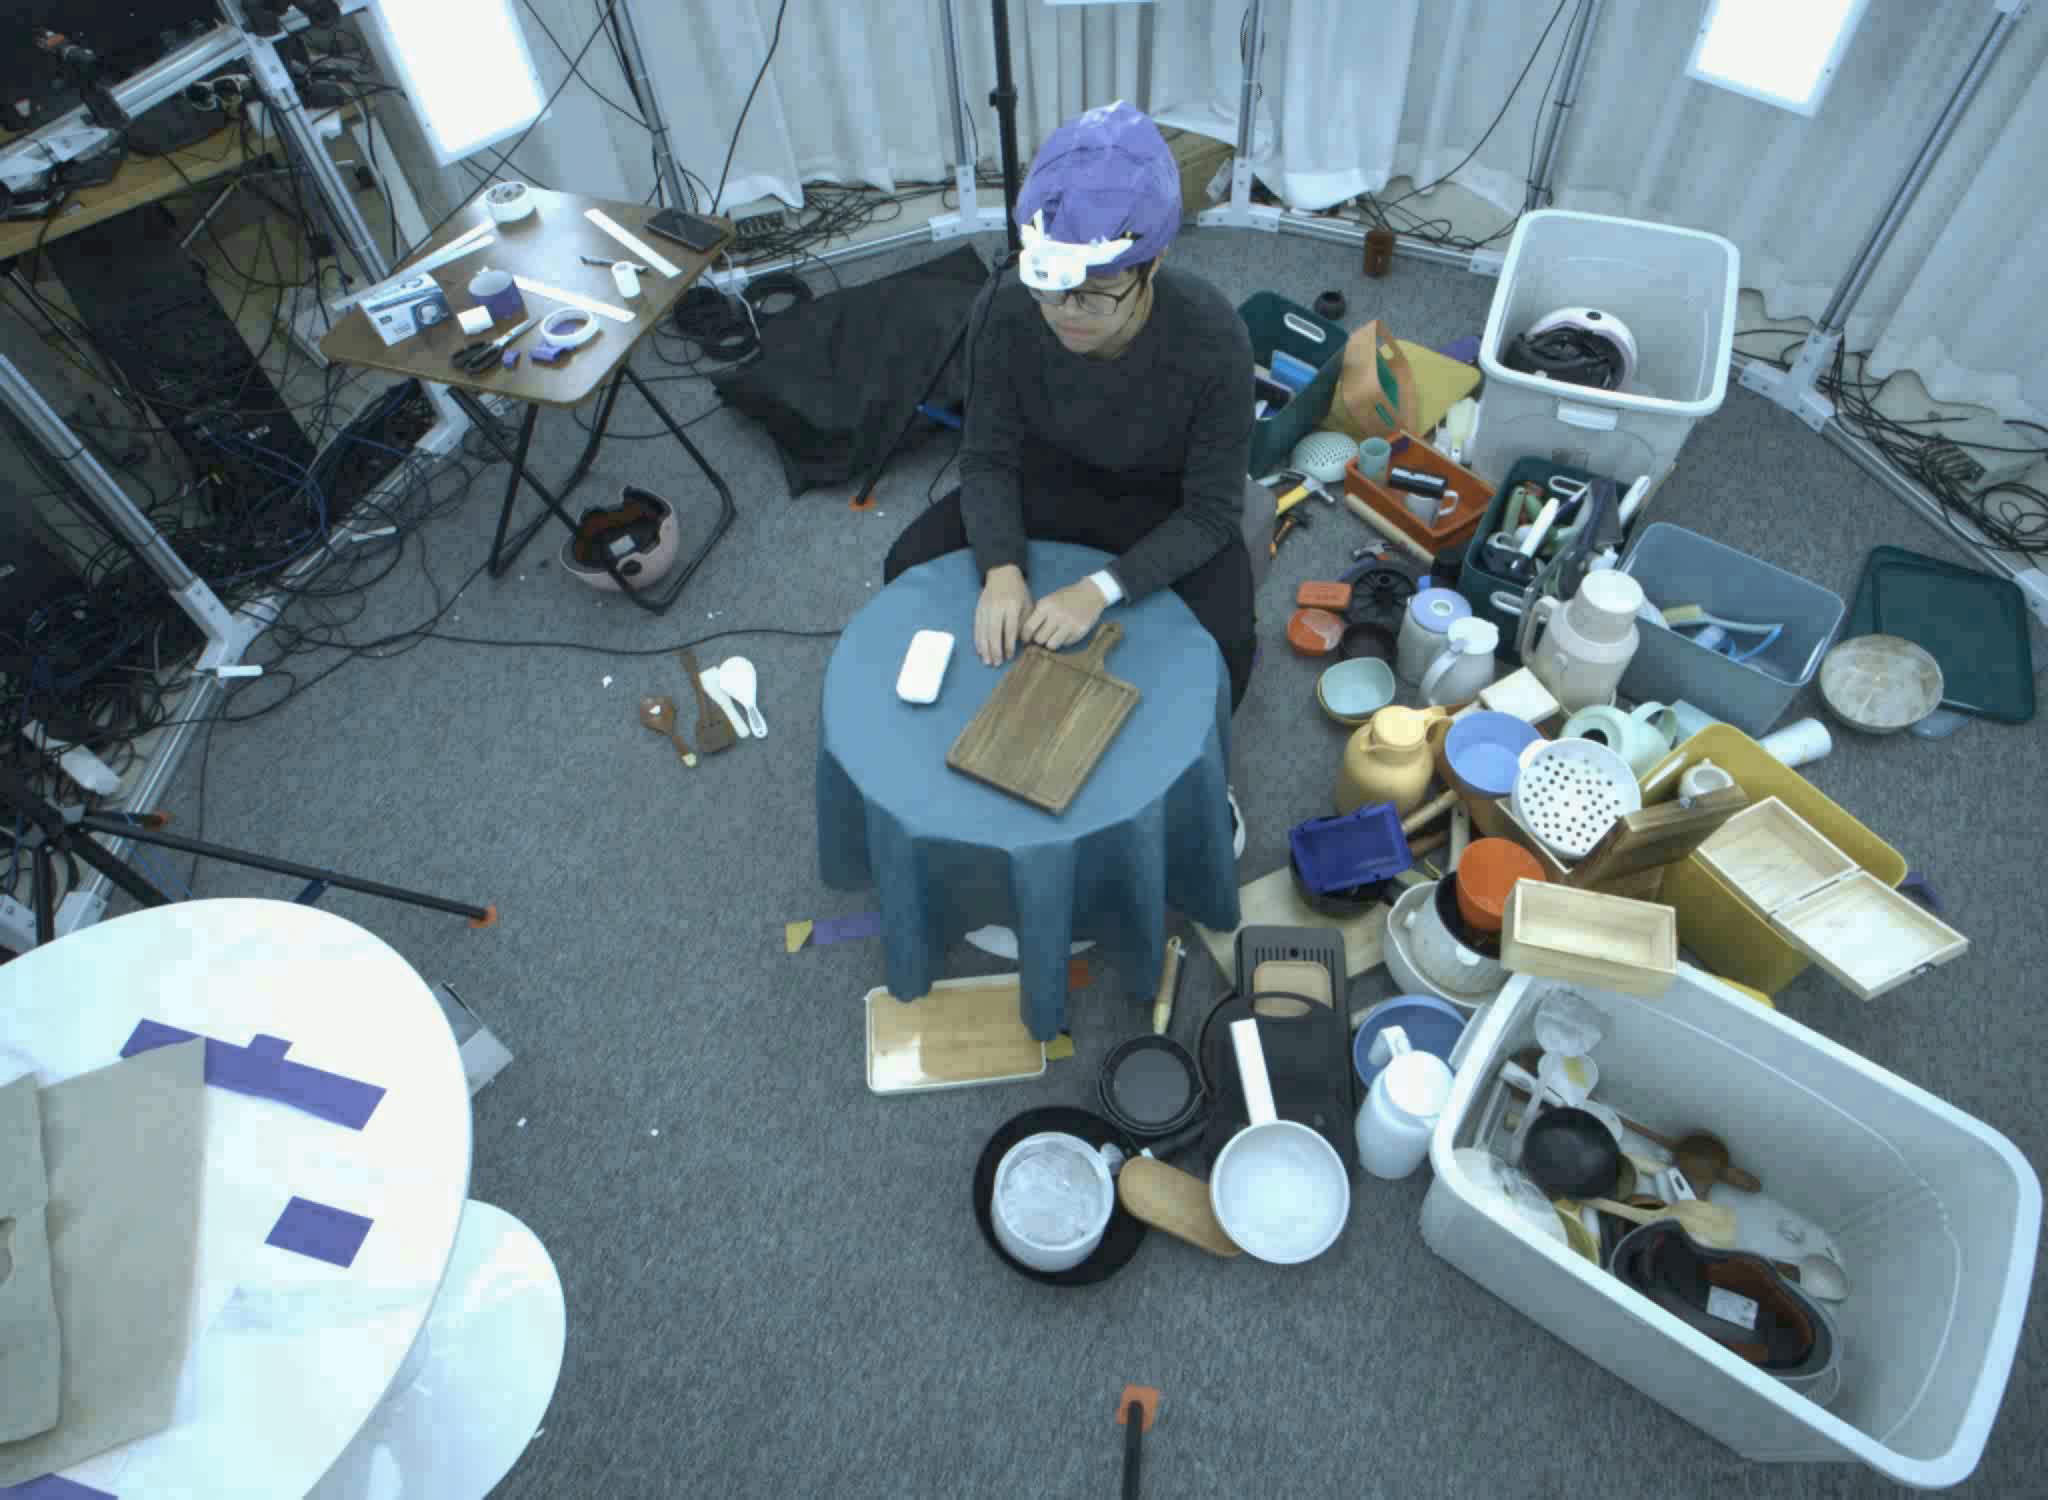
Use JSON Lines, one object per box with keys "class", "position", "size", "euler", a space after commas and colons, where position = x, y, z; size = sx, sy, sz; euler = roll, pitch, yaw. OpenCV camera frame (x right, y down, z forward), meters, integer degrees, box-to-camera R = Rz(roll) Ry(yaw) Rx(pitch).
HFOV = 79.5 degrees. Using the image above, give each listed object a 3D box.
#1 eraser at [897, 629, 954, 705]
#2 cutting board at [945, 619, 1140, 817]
{"class": "eraser", "position": [-0.148, -0.128, 1.864], "size": [0.063, 0.035, 0.130], "euler": [9, 57, 10]}
{"class": "cutting board", "position": [0.054, -0.070, 1.822], "size": [0.198, 0.023, 0.353], "euler": [24, 59, 18]}
